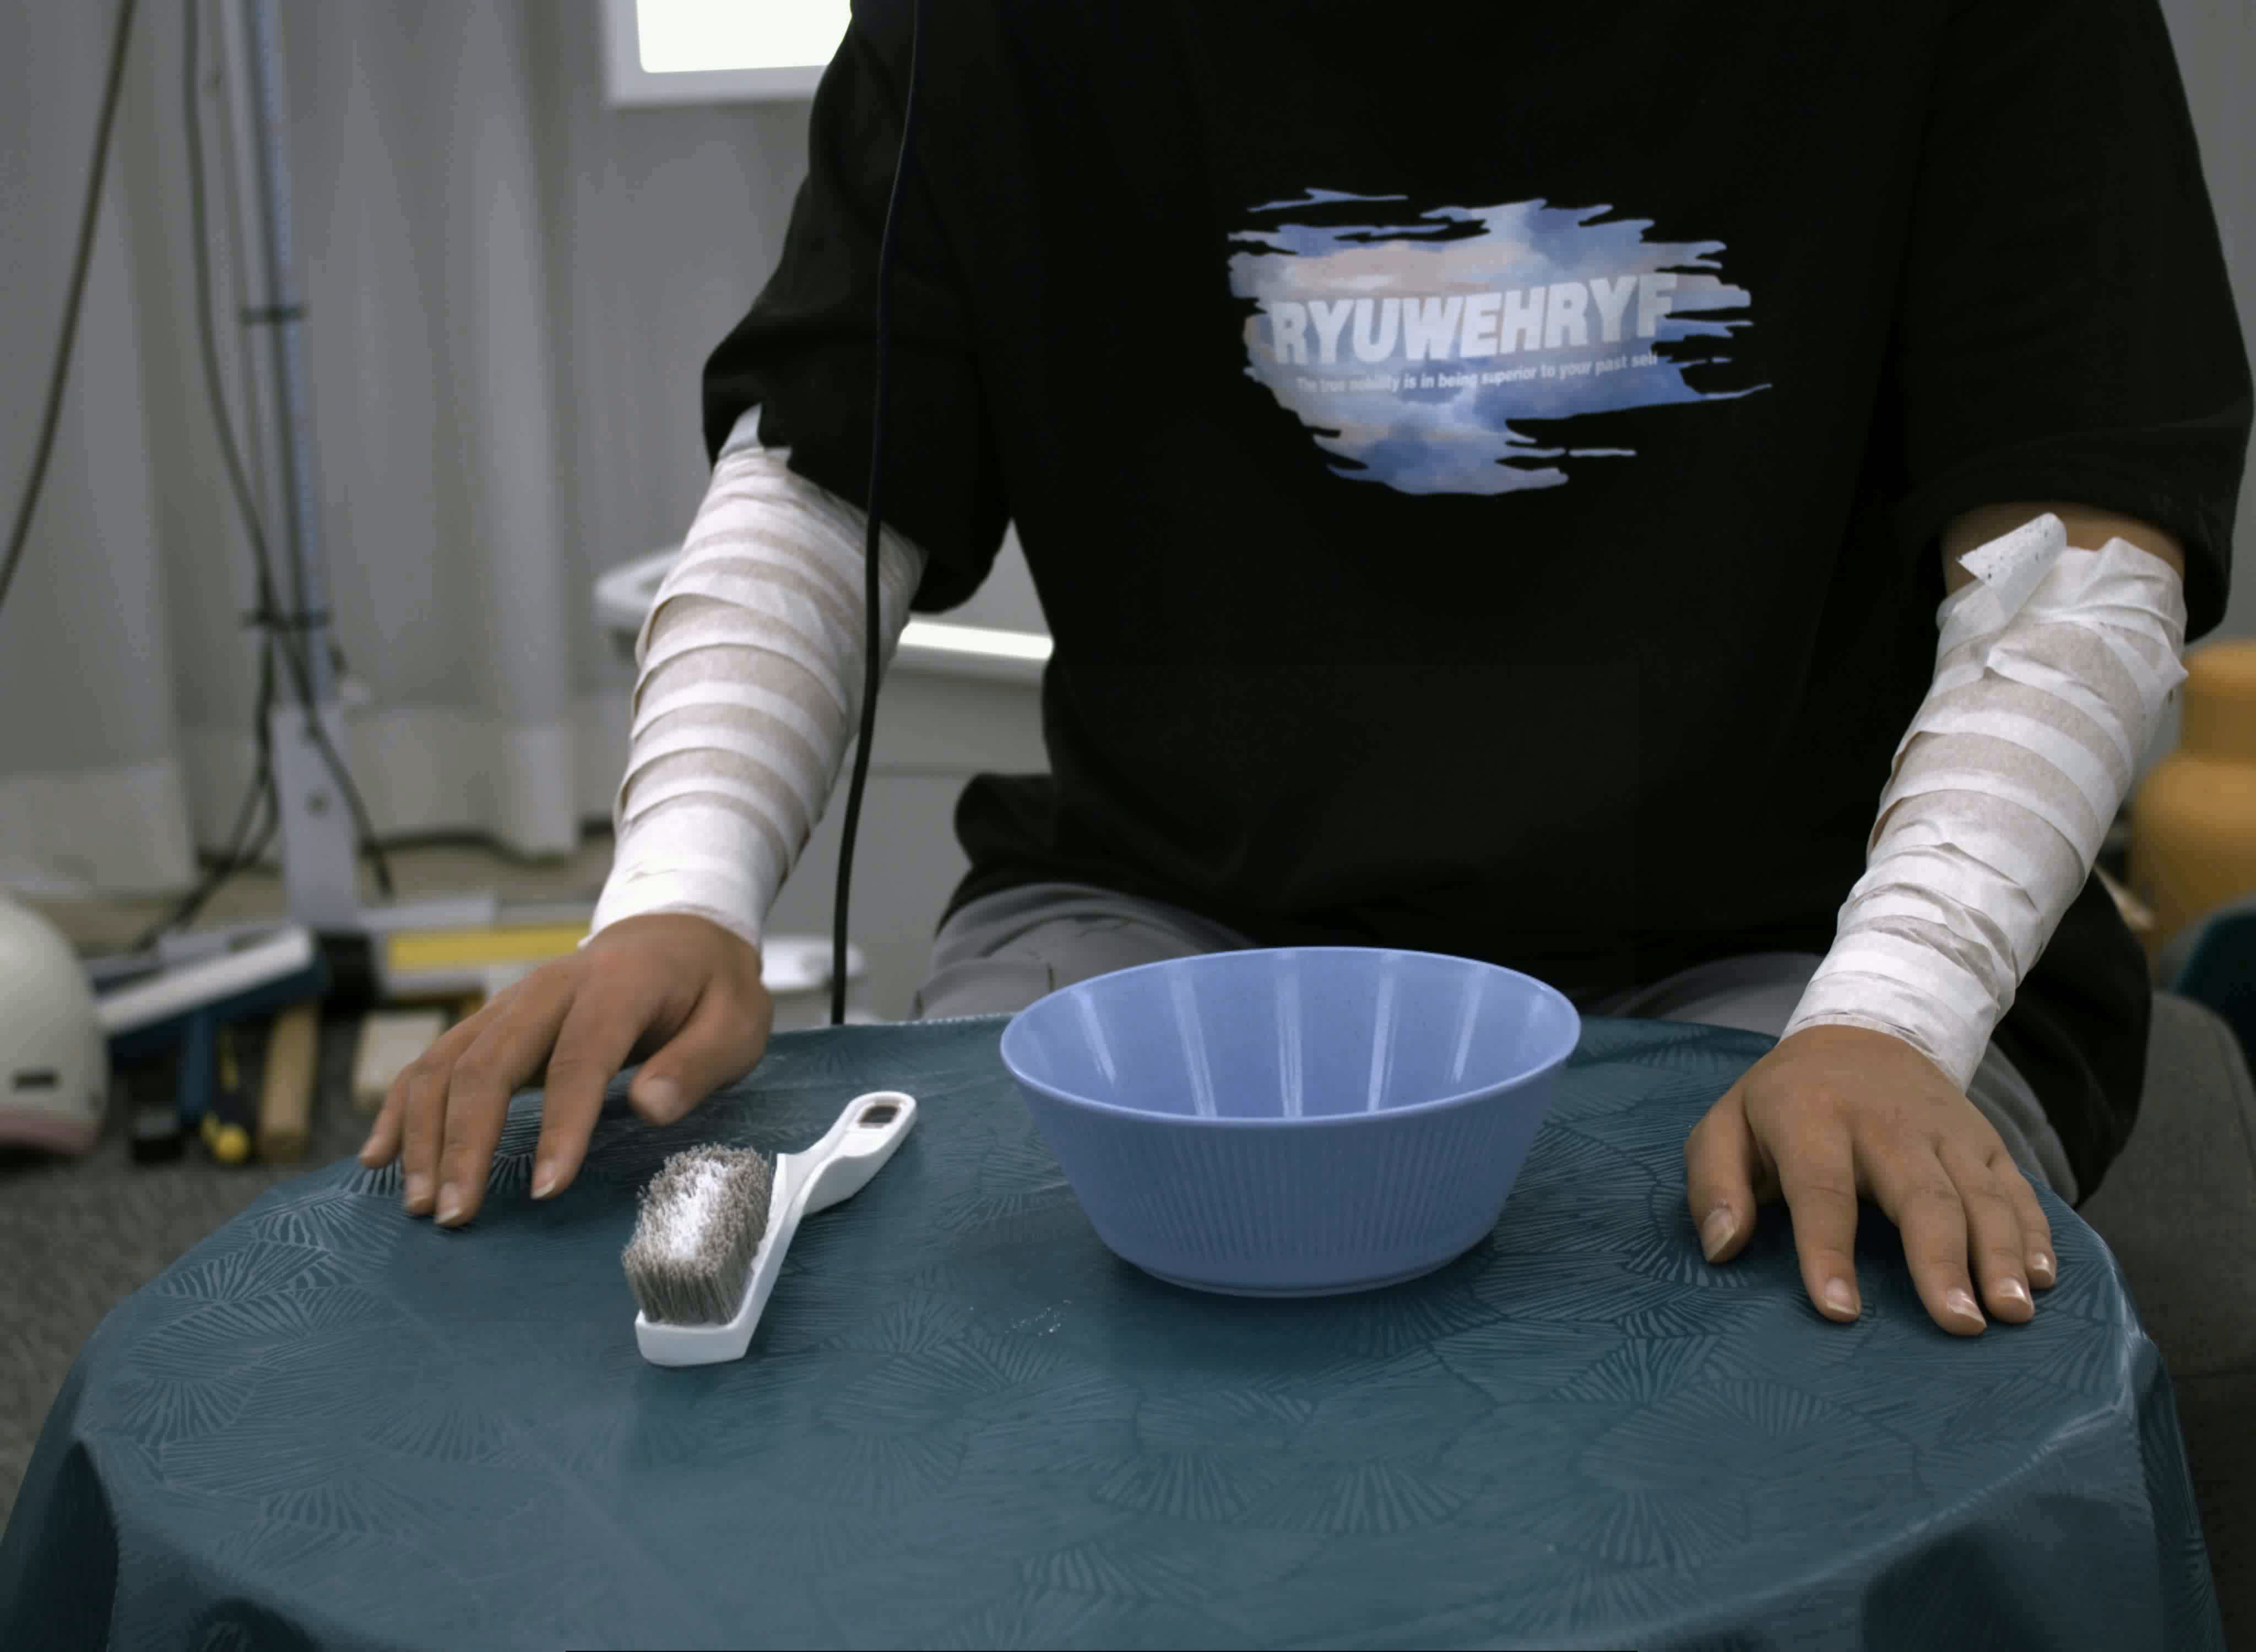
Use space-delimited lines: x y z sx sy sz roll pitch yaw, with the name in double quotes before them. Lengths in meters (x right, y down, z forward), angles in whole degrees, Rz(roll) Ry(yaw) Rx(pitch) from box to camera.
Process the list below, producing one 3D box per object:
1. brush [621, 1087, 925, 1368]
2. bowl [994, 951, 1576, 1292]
"brush" -0.104 0.103 1.678 0.034 0.050 0.245 2 16 14
"bowl" 0.048 0.092 1.654 0.175 0.070 0.177 -2 14 0
